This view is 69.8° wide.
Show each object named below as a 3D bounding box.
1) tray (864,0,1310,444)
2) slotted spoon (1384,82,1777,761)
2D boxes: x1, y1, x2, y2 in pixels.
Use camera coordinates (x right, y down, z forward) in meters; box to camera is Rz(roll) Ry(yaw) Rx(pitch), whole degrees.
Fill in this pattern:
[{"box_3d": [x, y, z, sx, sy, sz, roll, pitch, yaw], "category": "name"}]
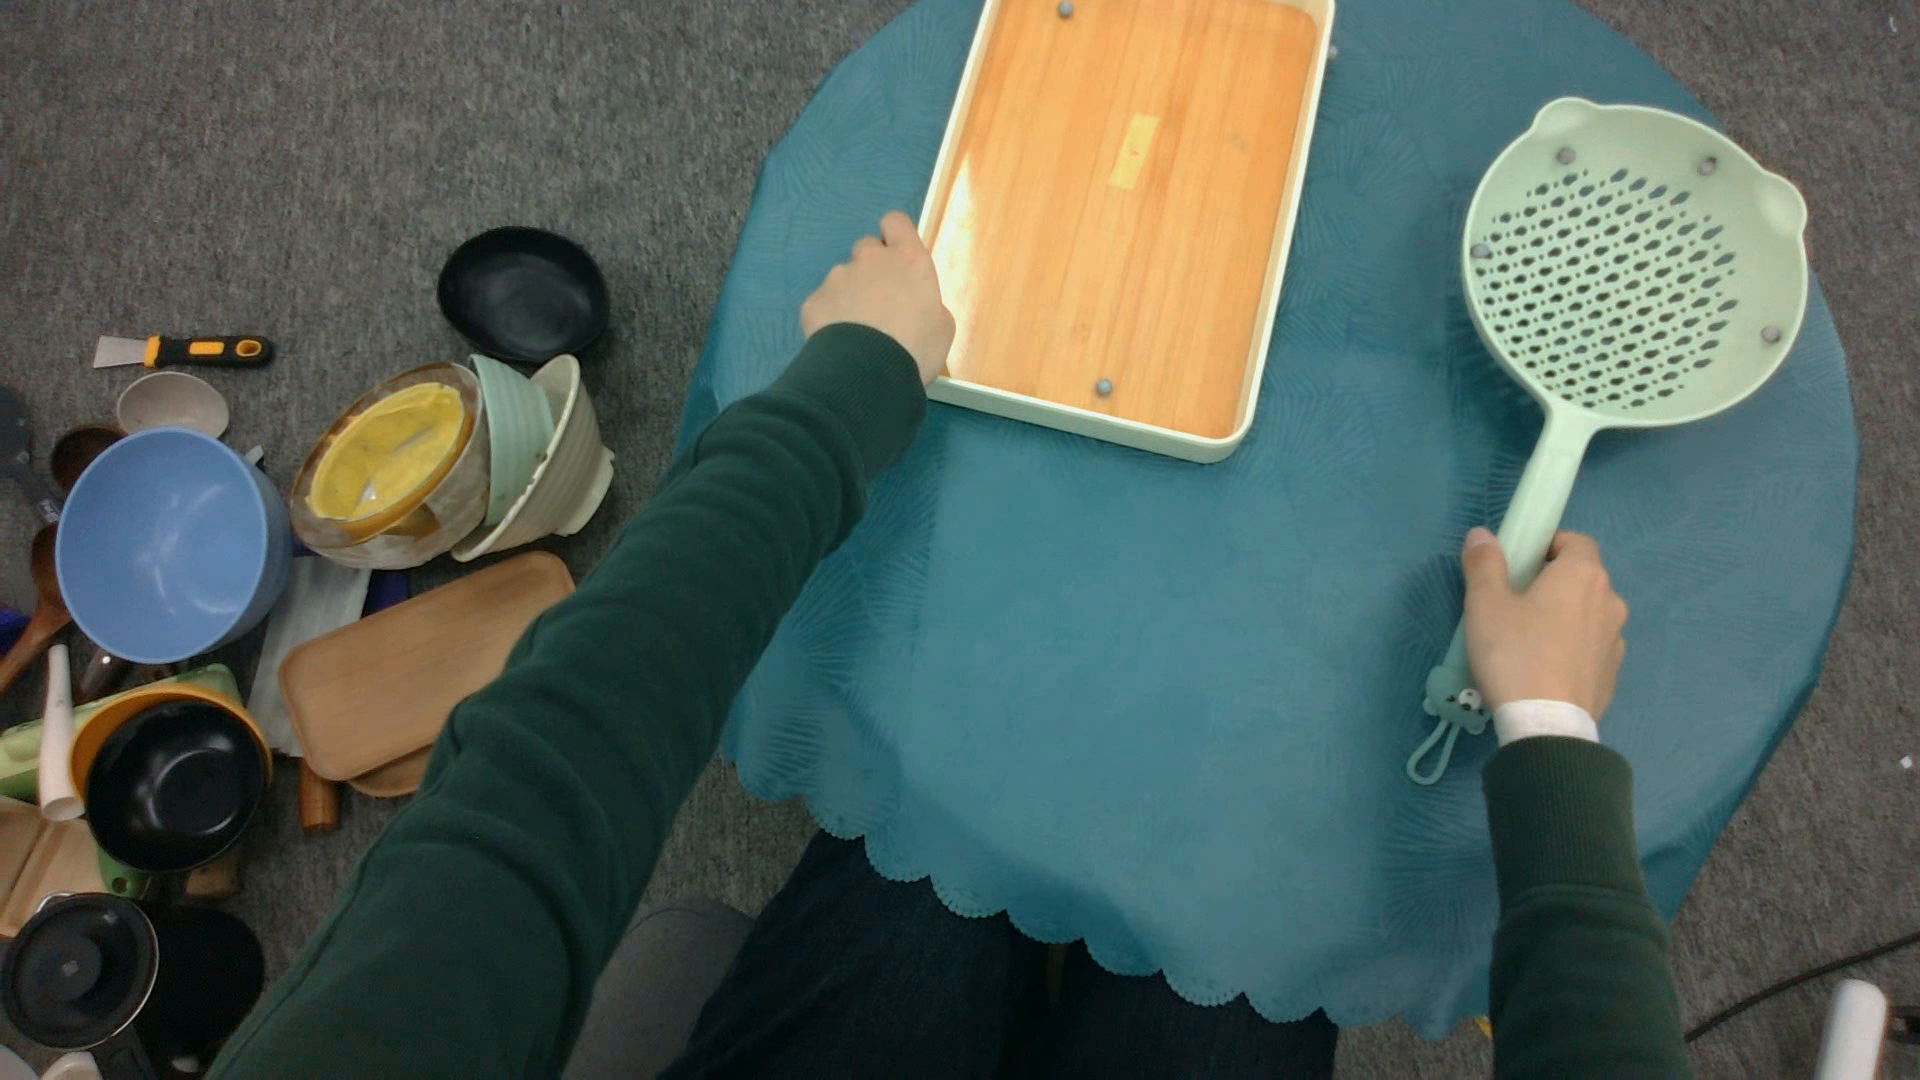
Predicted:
[{"box_3d": [0.074, -0.206, 0.747, 0.191, 0.027, 0.301, 14, 70, 3], "category": "tray"}, {"box_3d": [0.285, -0.059, 0.682, 0.169, 0.075, 0.360, 24, 71, 6], "category": "slotted spoon"}]
